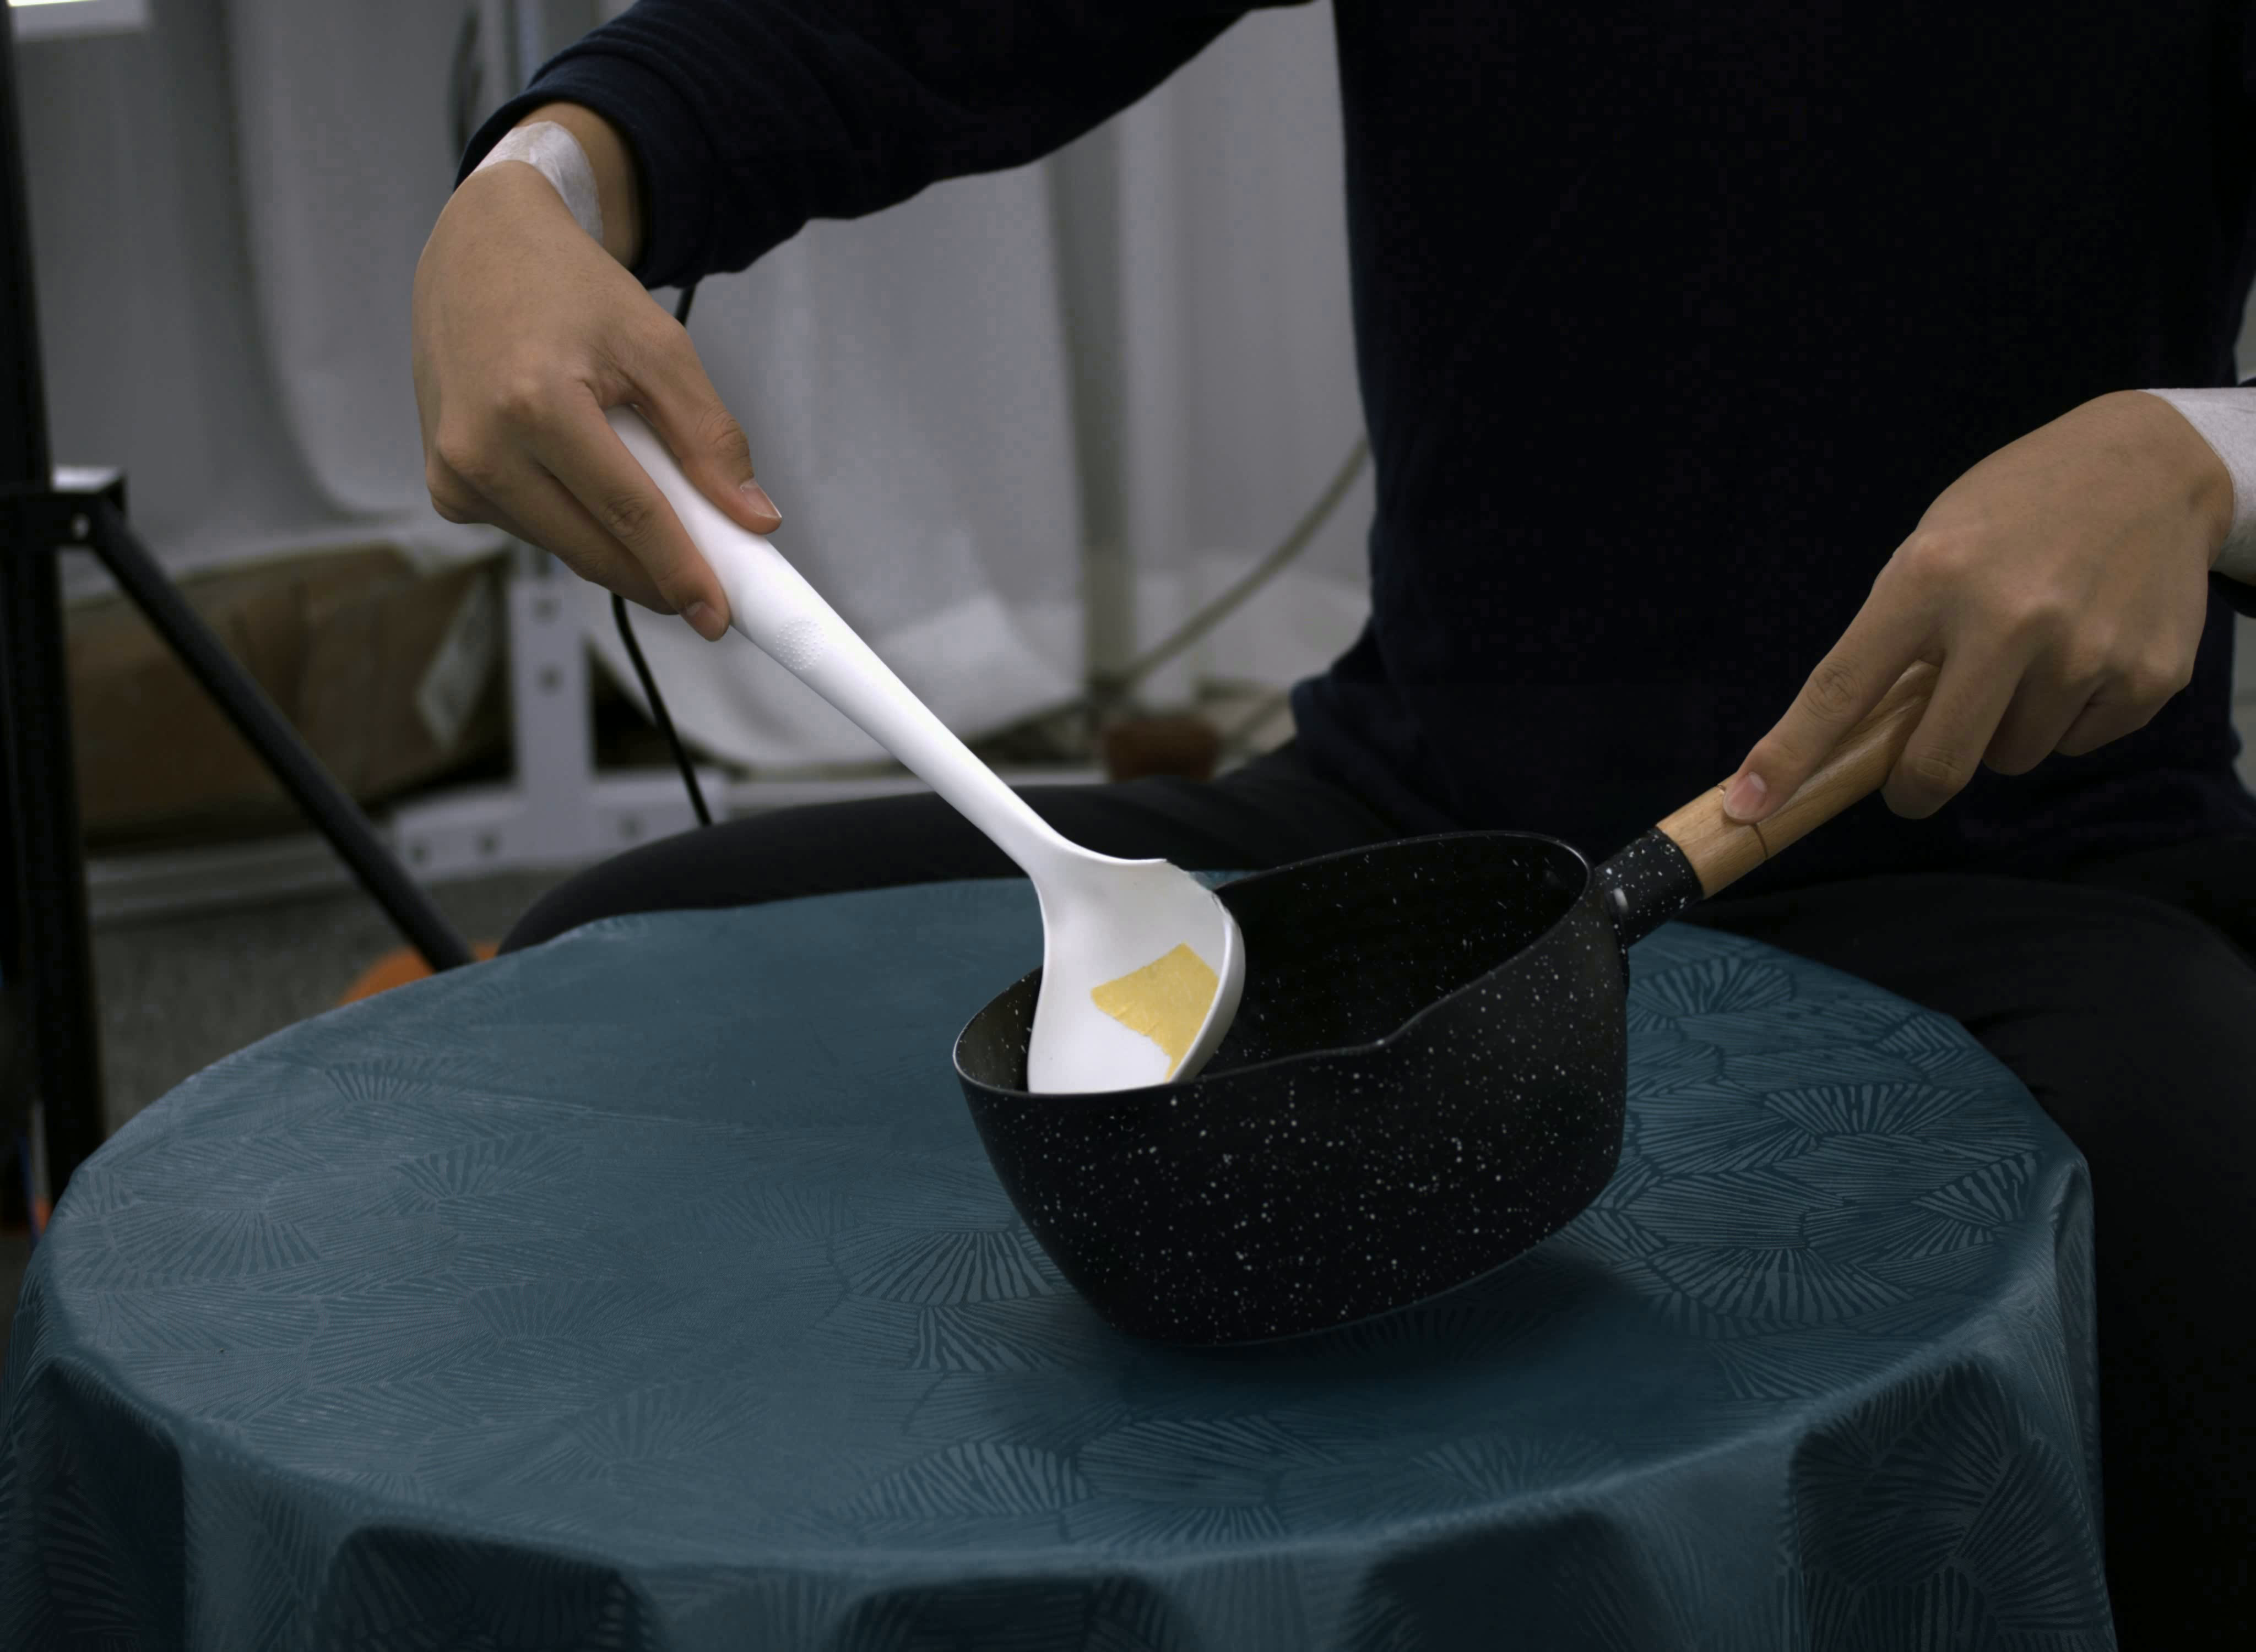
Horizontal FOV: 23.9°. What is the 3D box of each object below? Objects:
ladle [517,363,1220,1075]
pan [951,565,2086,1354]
[{"bbox_3d":[-0.080,-0.023,1.518,0.297,0.091,0.068,45,31,18],"label":"ladle"},{"bbox_3d":[0.121,0.037,1.466,0.339,0.108,0.210,-22,13,-10],"label":"pan"}]
